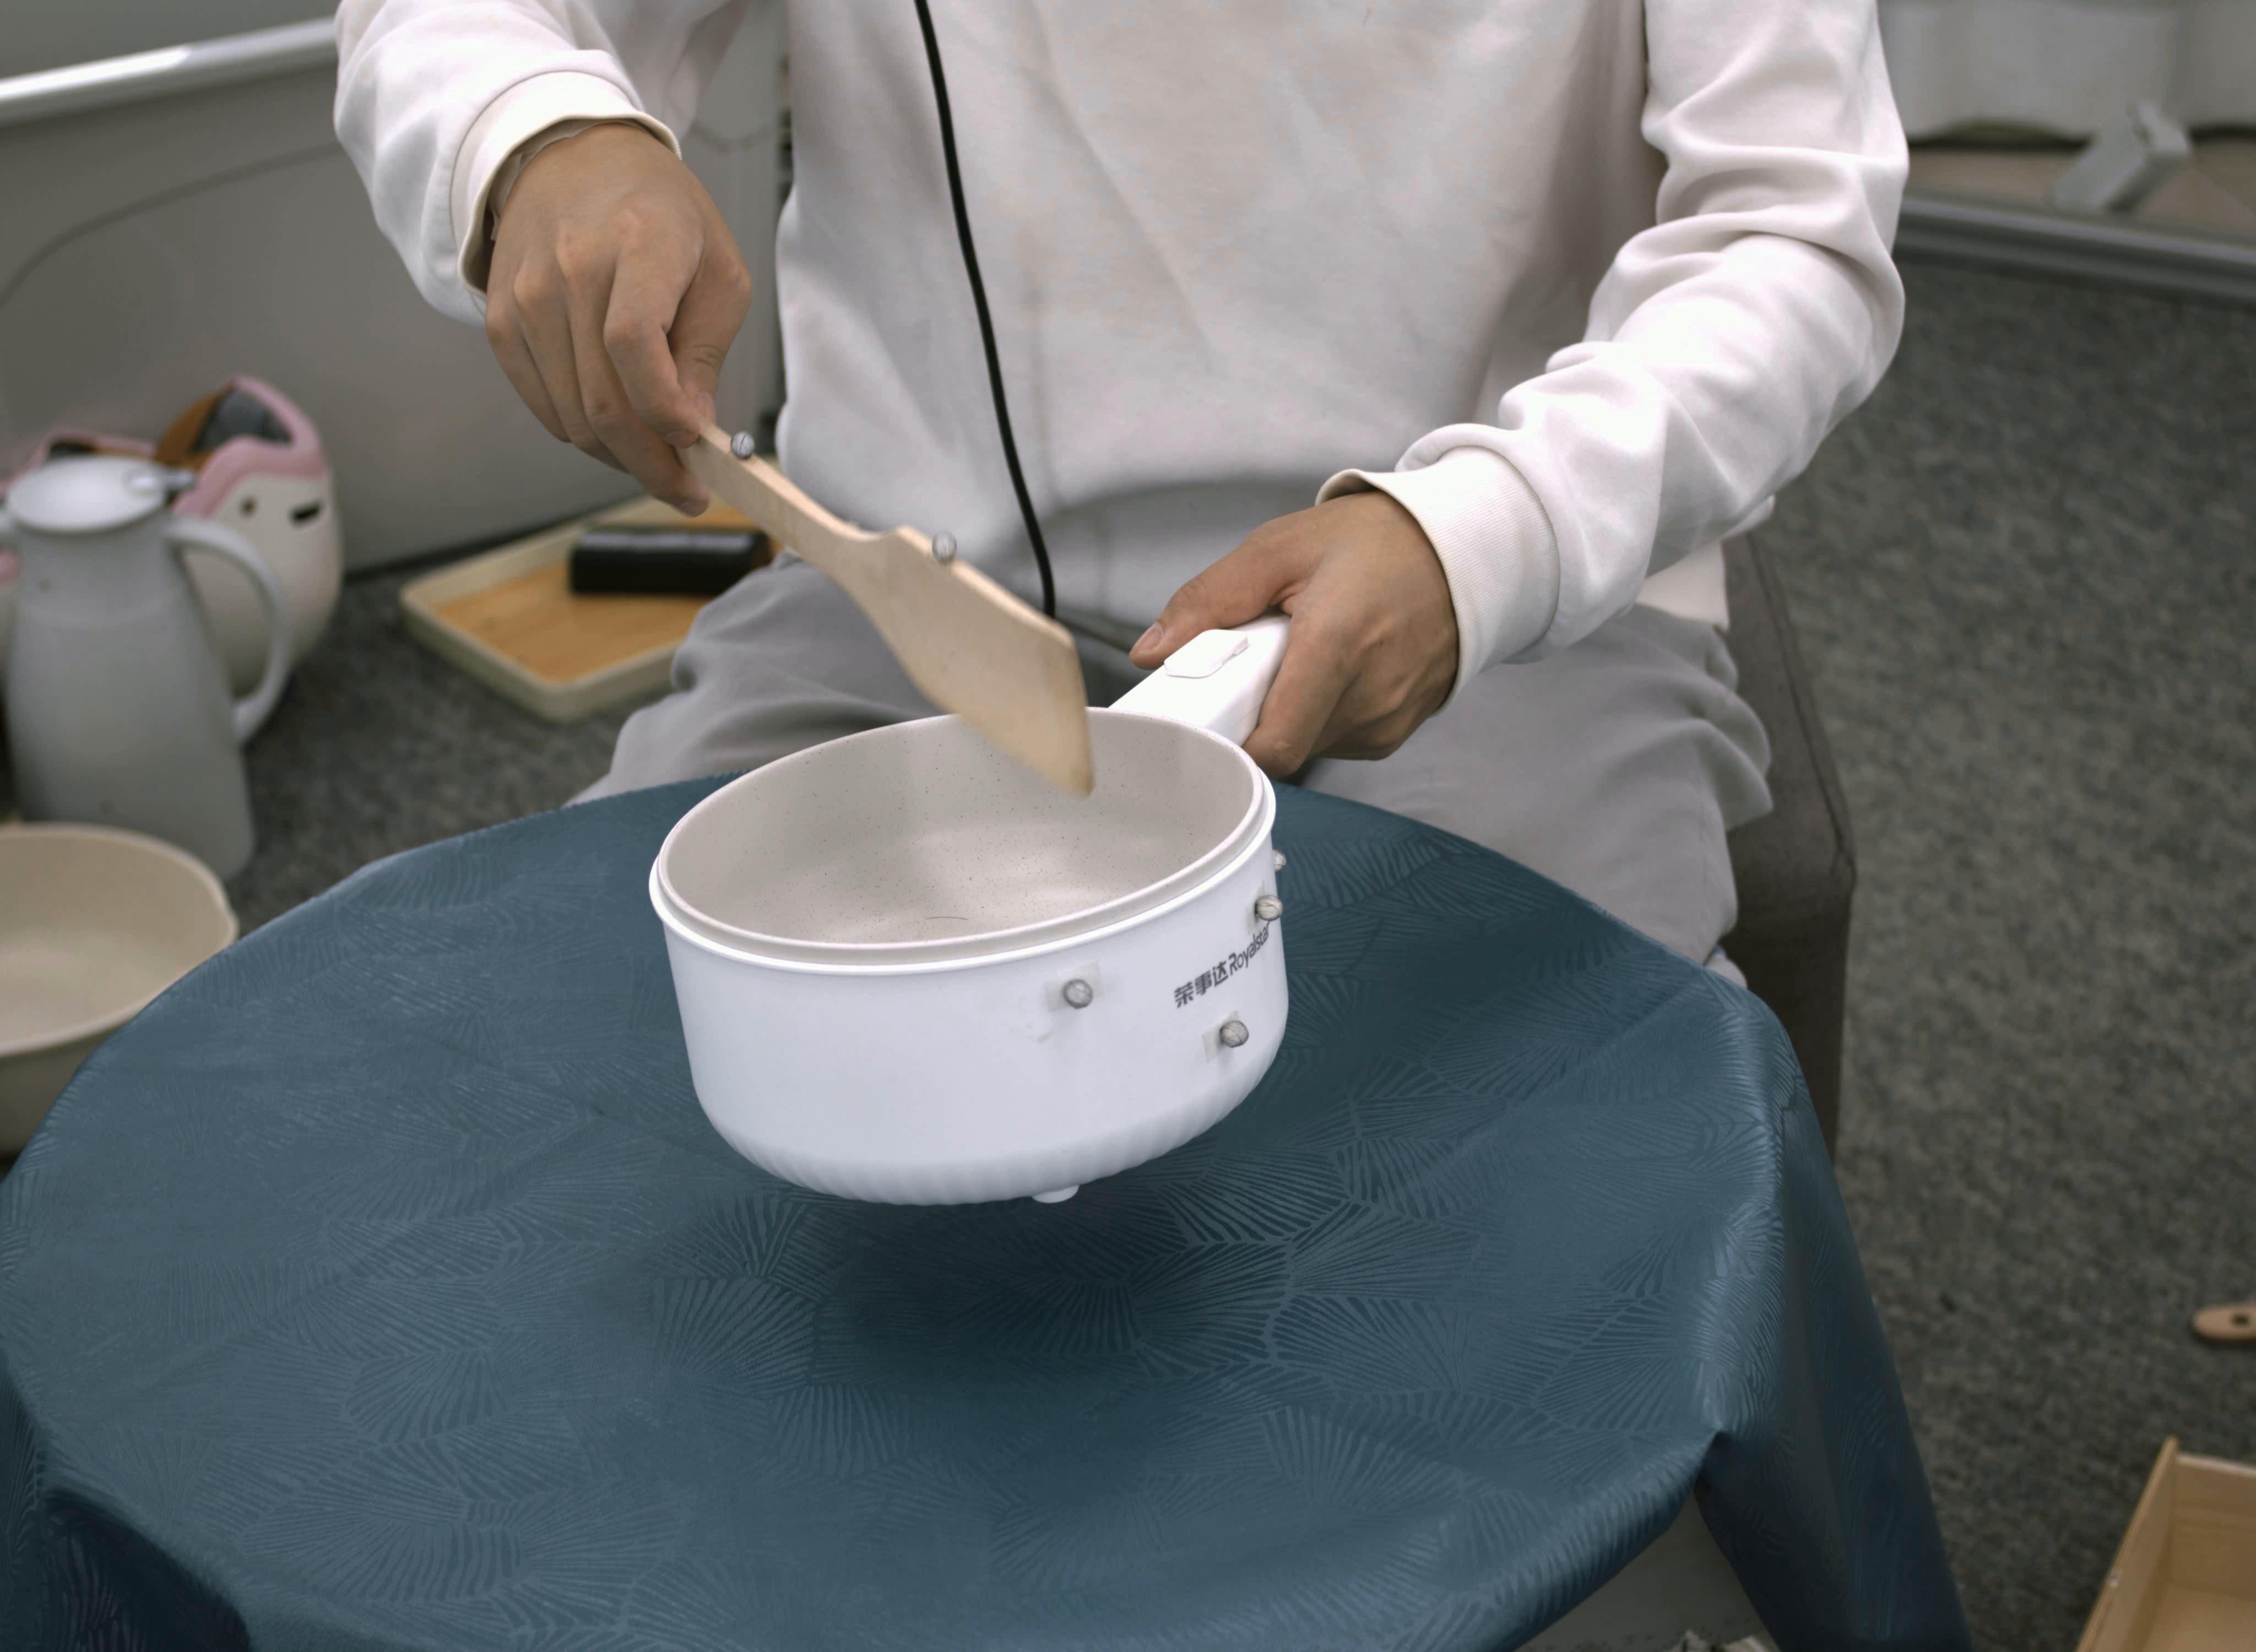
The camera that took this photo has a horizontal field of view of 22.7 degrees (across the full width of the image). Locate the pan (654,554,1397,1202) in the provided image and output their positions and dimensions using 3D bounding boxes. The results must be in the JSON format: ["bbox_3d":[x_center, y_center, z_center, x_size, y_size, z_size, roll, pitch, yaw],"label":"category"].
[{"bbox_3d":[-0.008,0.014,1.864,0.199,0.101,0.360,5,25,30],"label":"pan"}]

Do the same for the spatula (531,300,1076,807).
[{"bbox_3d":[-0.114,-0.102,1.878,0.011,0.071,0.294,-32,49,-25],"label":"spatula"}]
